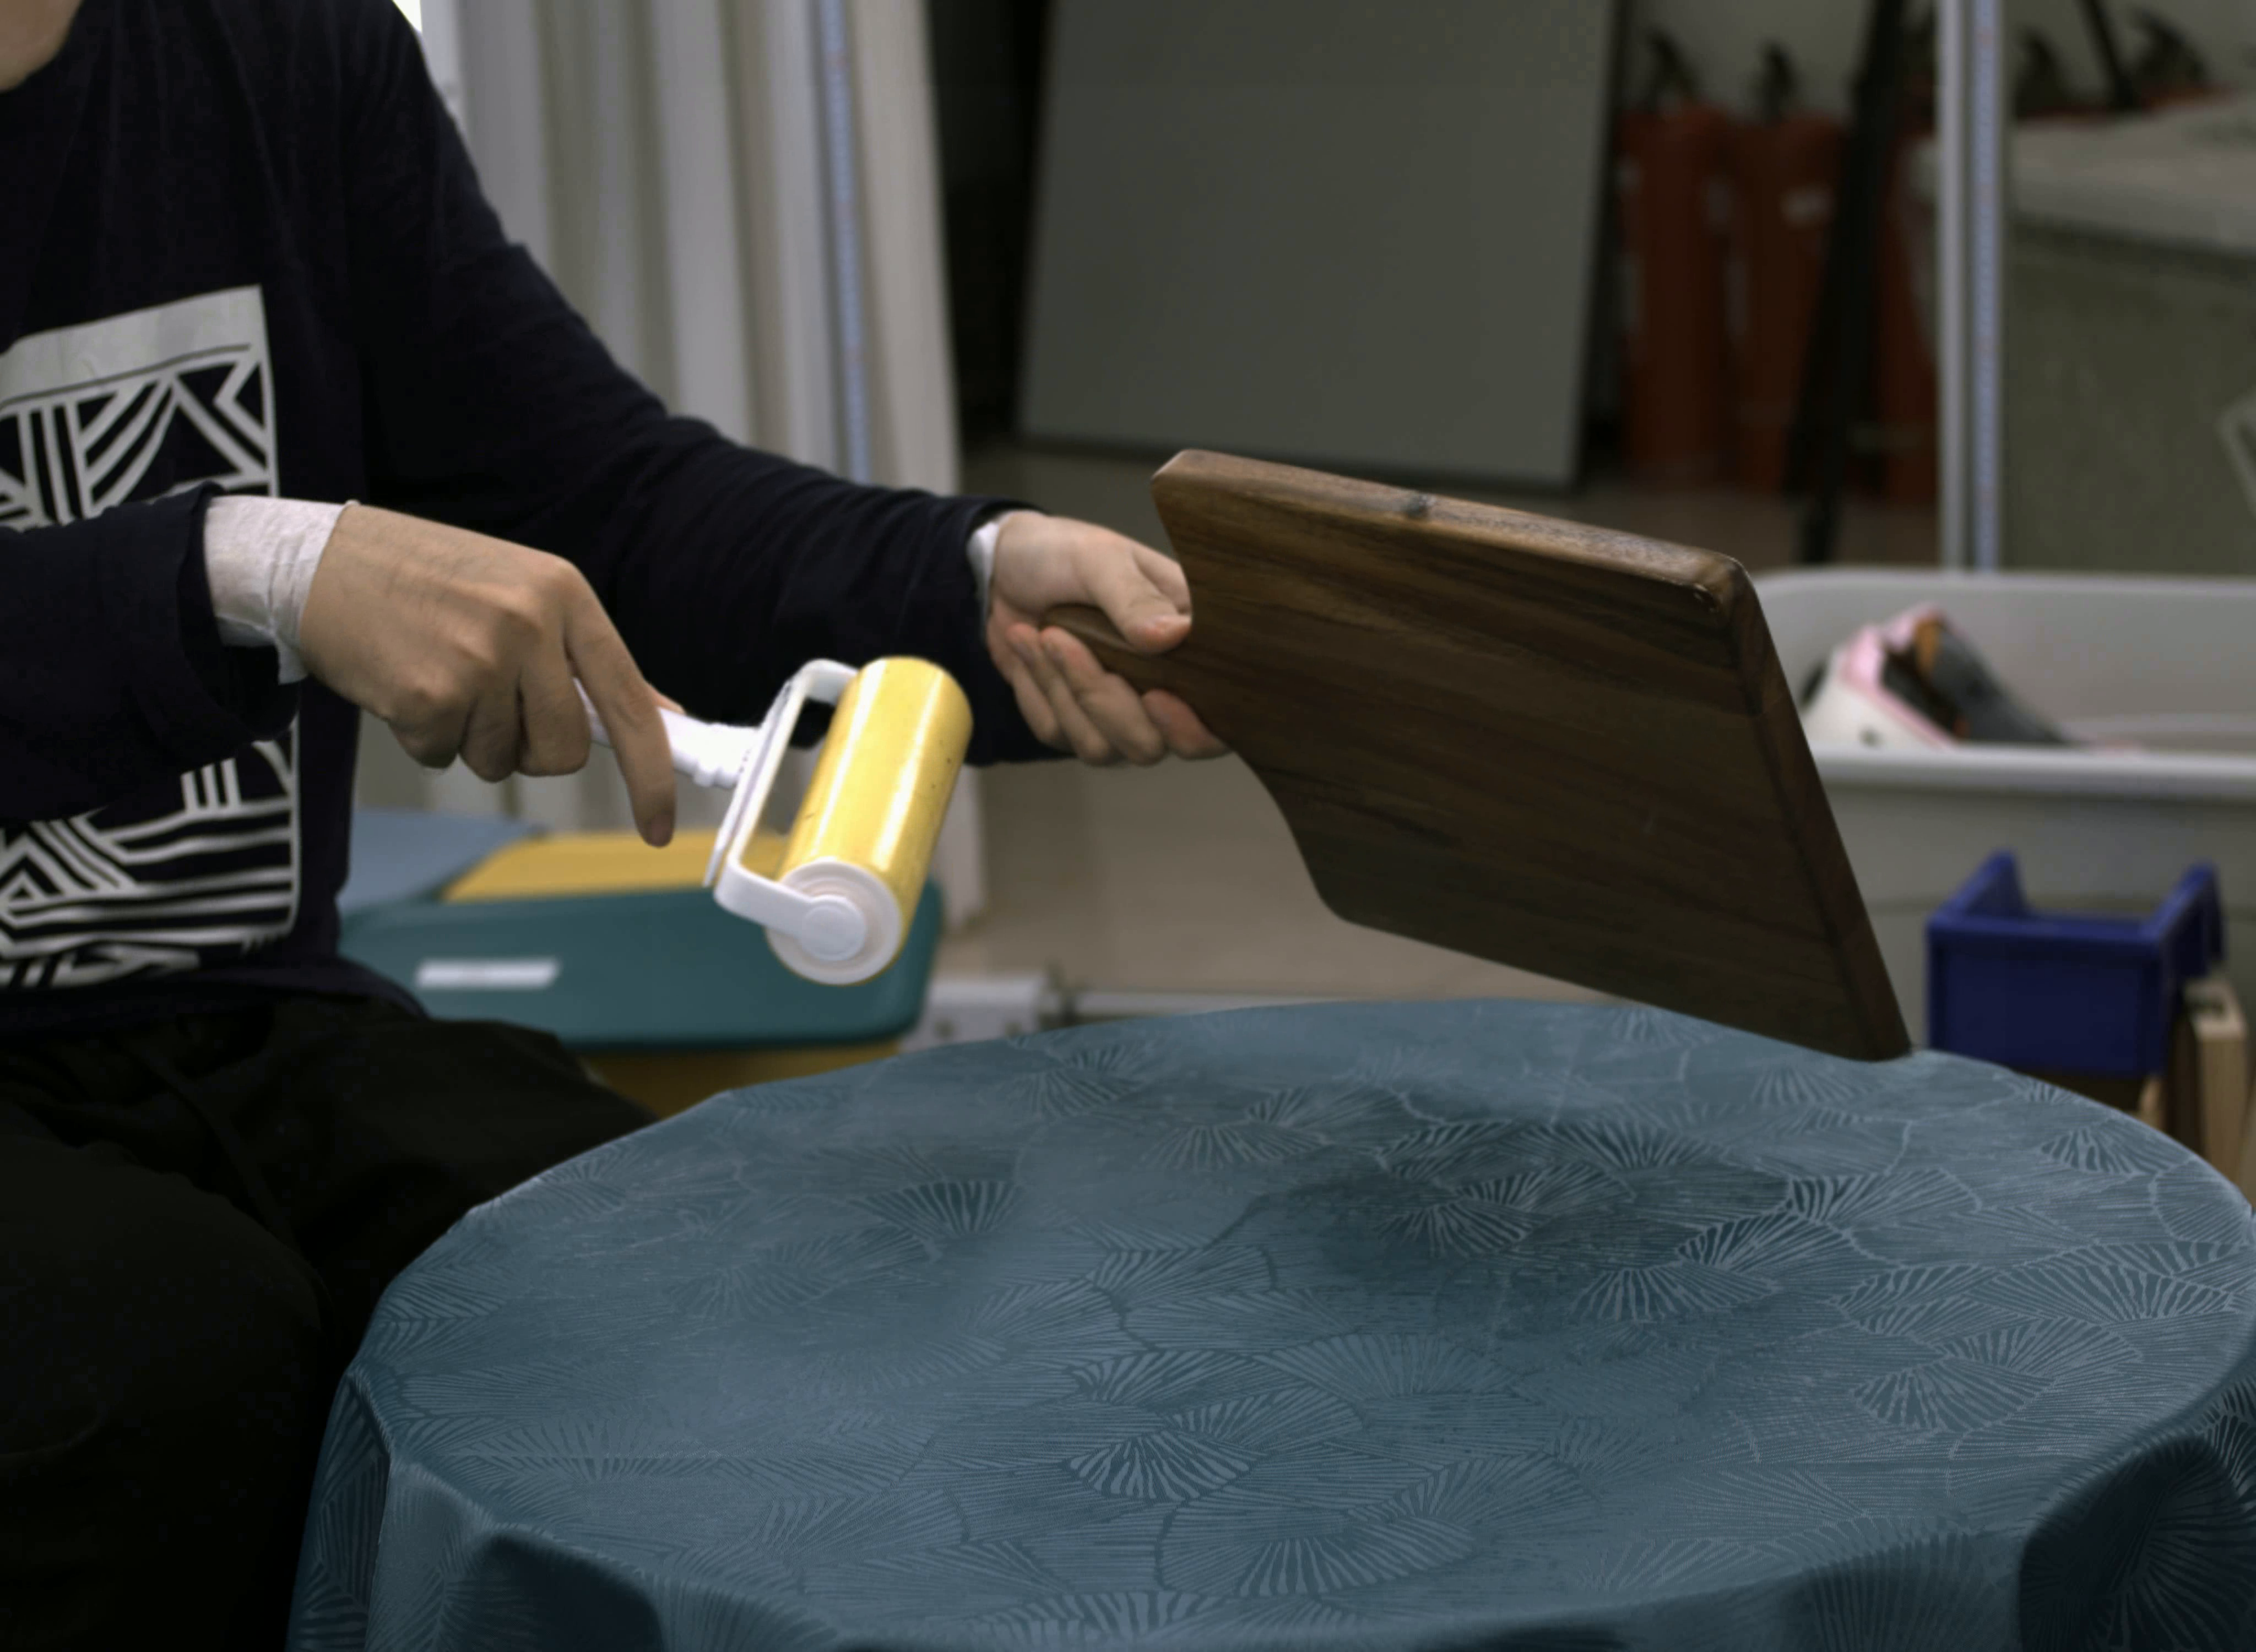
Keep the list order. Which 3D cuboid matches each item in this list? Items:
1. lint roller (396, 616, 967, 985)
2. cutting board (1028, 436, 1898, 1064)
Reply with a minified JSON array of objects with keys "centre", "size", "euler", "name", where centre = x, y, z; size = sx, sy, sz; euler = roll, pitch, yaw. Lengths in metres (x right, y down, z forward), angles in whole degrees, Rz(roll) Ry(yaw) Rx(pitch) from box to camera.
[{"centre":[-0.146,-0.034,1.779],"size":[0.190,0.052,0.174],"euler":[29,22,-8],"name":"lint roller"},{"centre":[0.093,-0.035,1.787],"size":[0.355,0.201,0.023],"euler":[14,47,46],"name":"cutting board"}]
